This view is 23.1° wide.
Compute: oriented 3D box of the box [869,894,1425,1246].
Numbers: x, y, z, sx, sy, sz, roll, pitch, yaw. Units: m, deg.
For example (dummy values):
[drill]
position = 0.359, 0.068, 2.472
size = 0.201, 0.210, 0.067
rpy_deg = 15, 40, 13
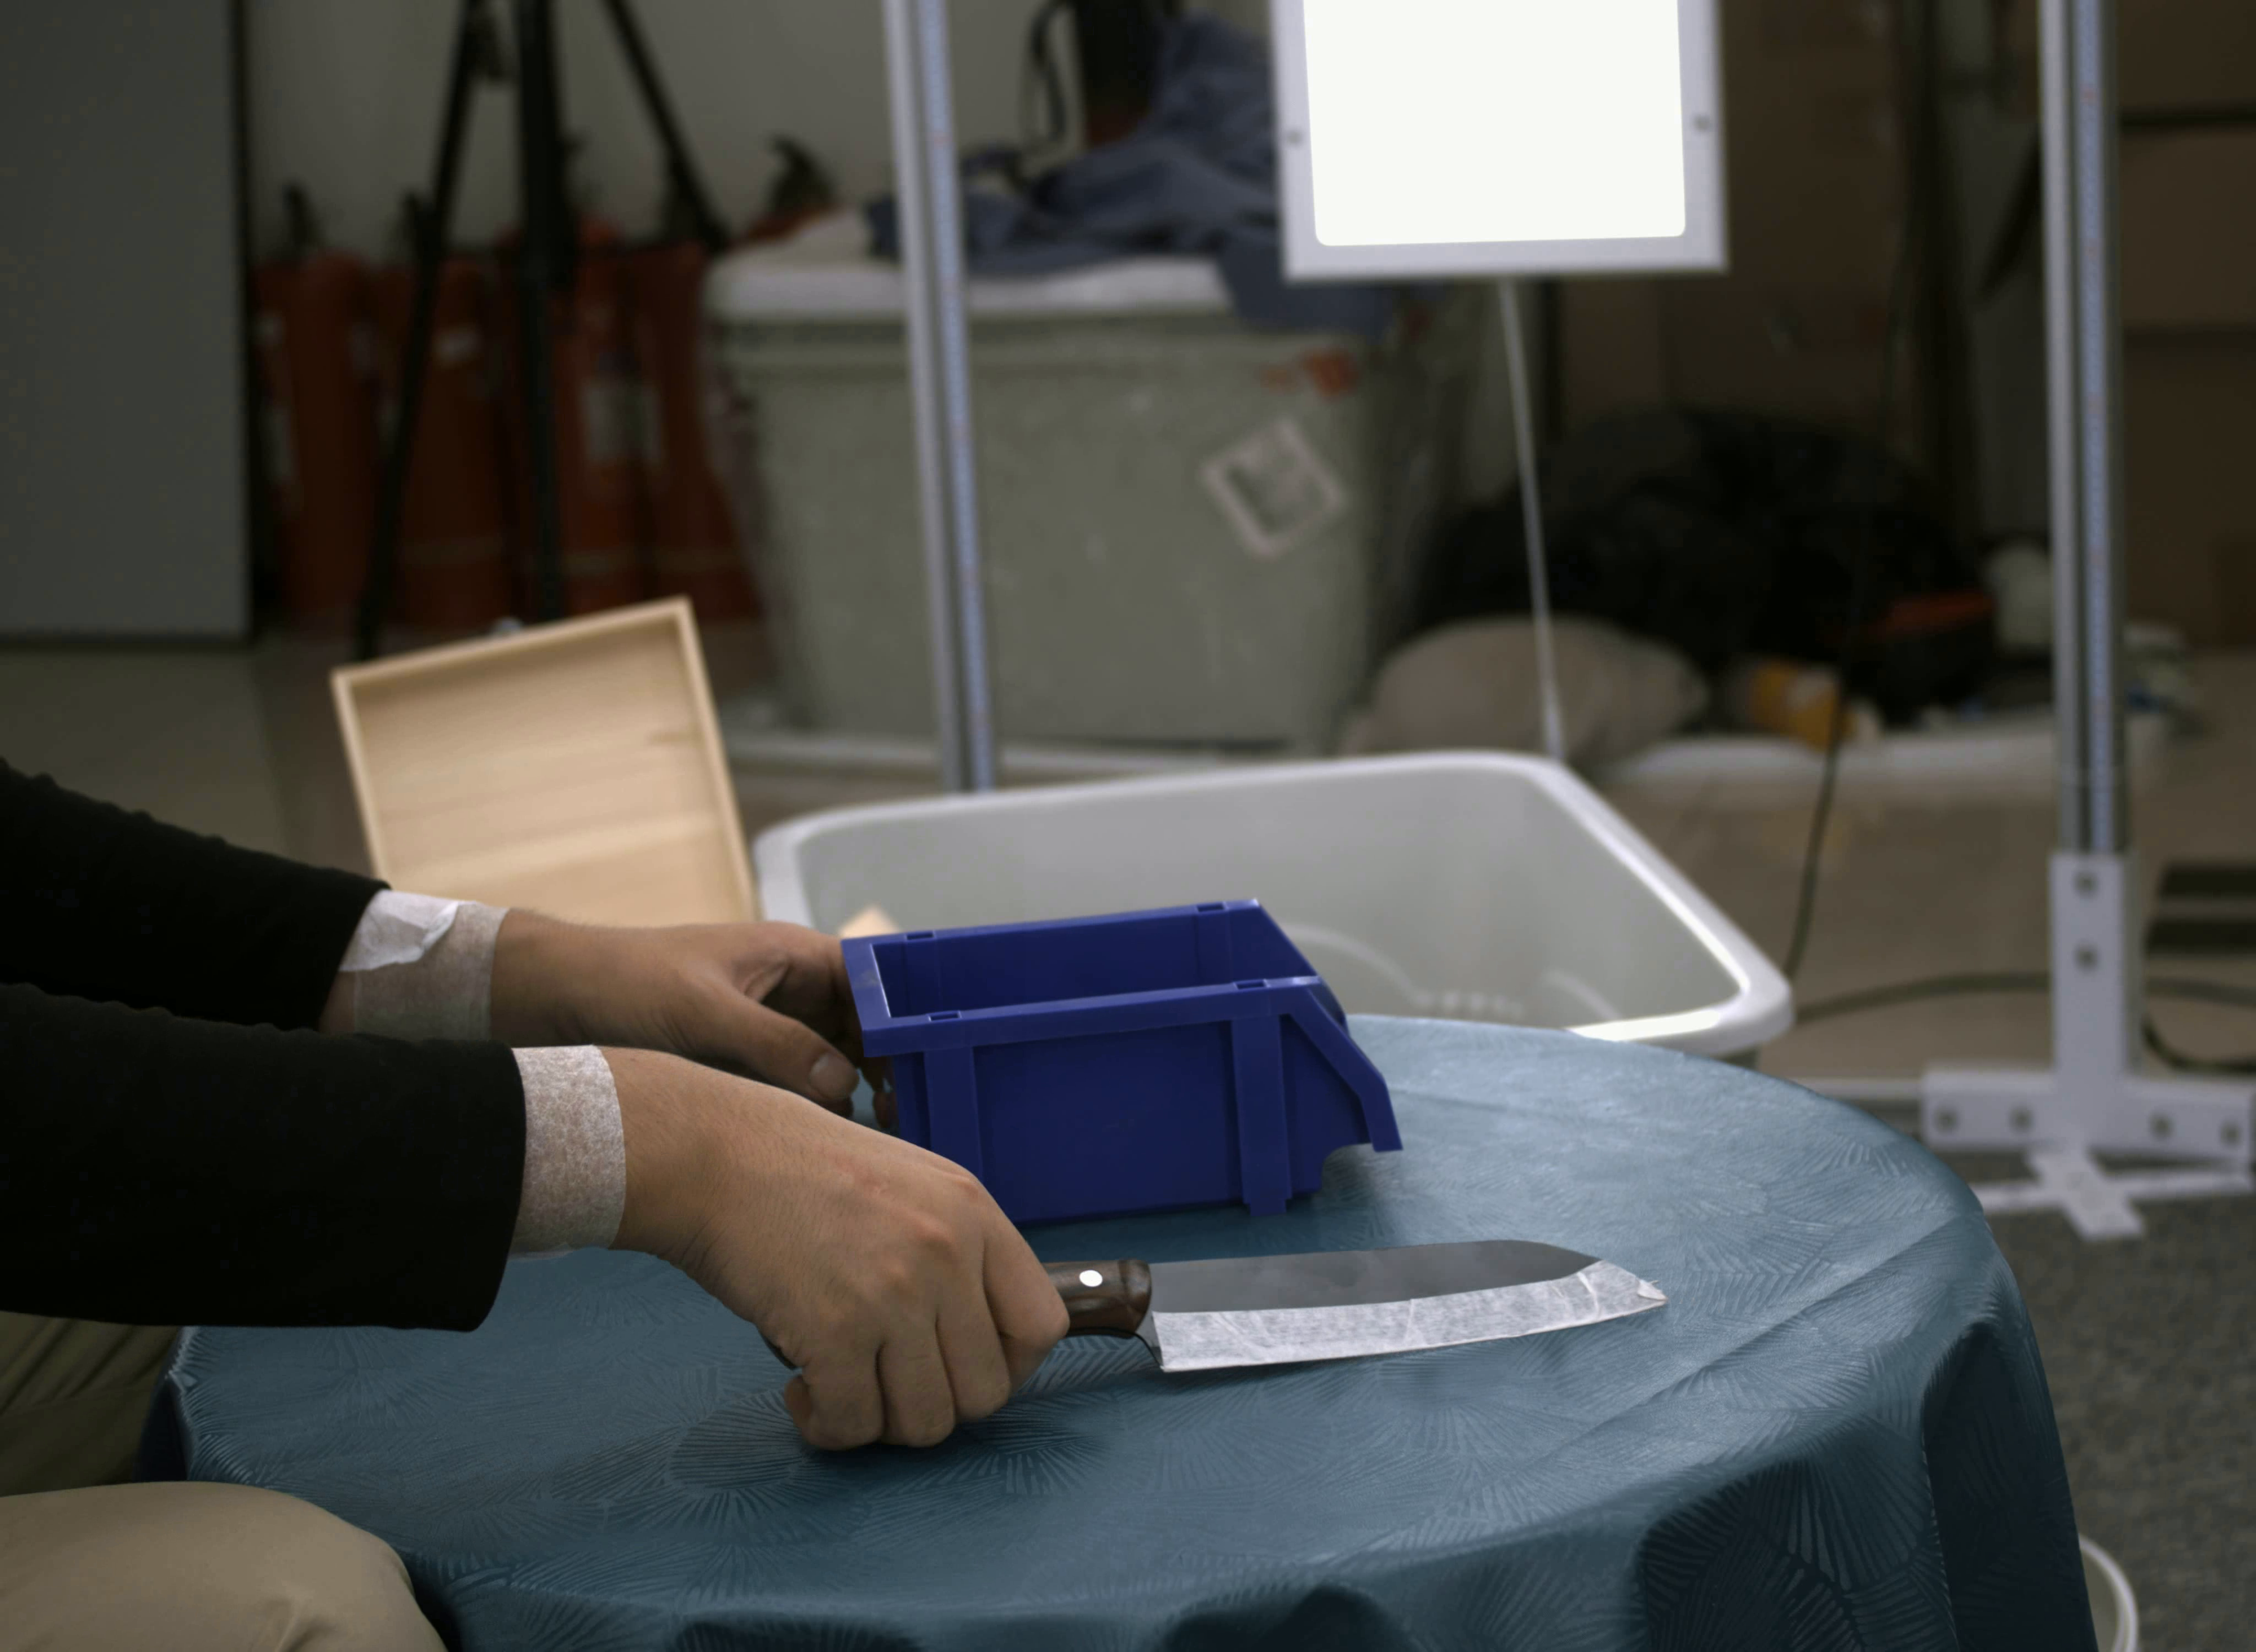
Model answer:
[box]
position = 0.006, 0.082, 1.909
size = 0.179, 0.082, 0.124
rpy_deg = -8, 13, -1

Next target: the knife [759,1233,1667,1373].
[knife]
position = 0.029, 0.150, 1.716
size = 0.286, 0.020, 0.050
rpy_deg = -2, 46, -8
